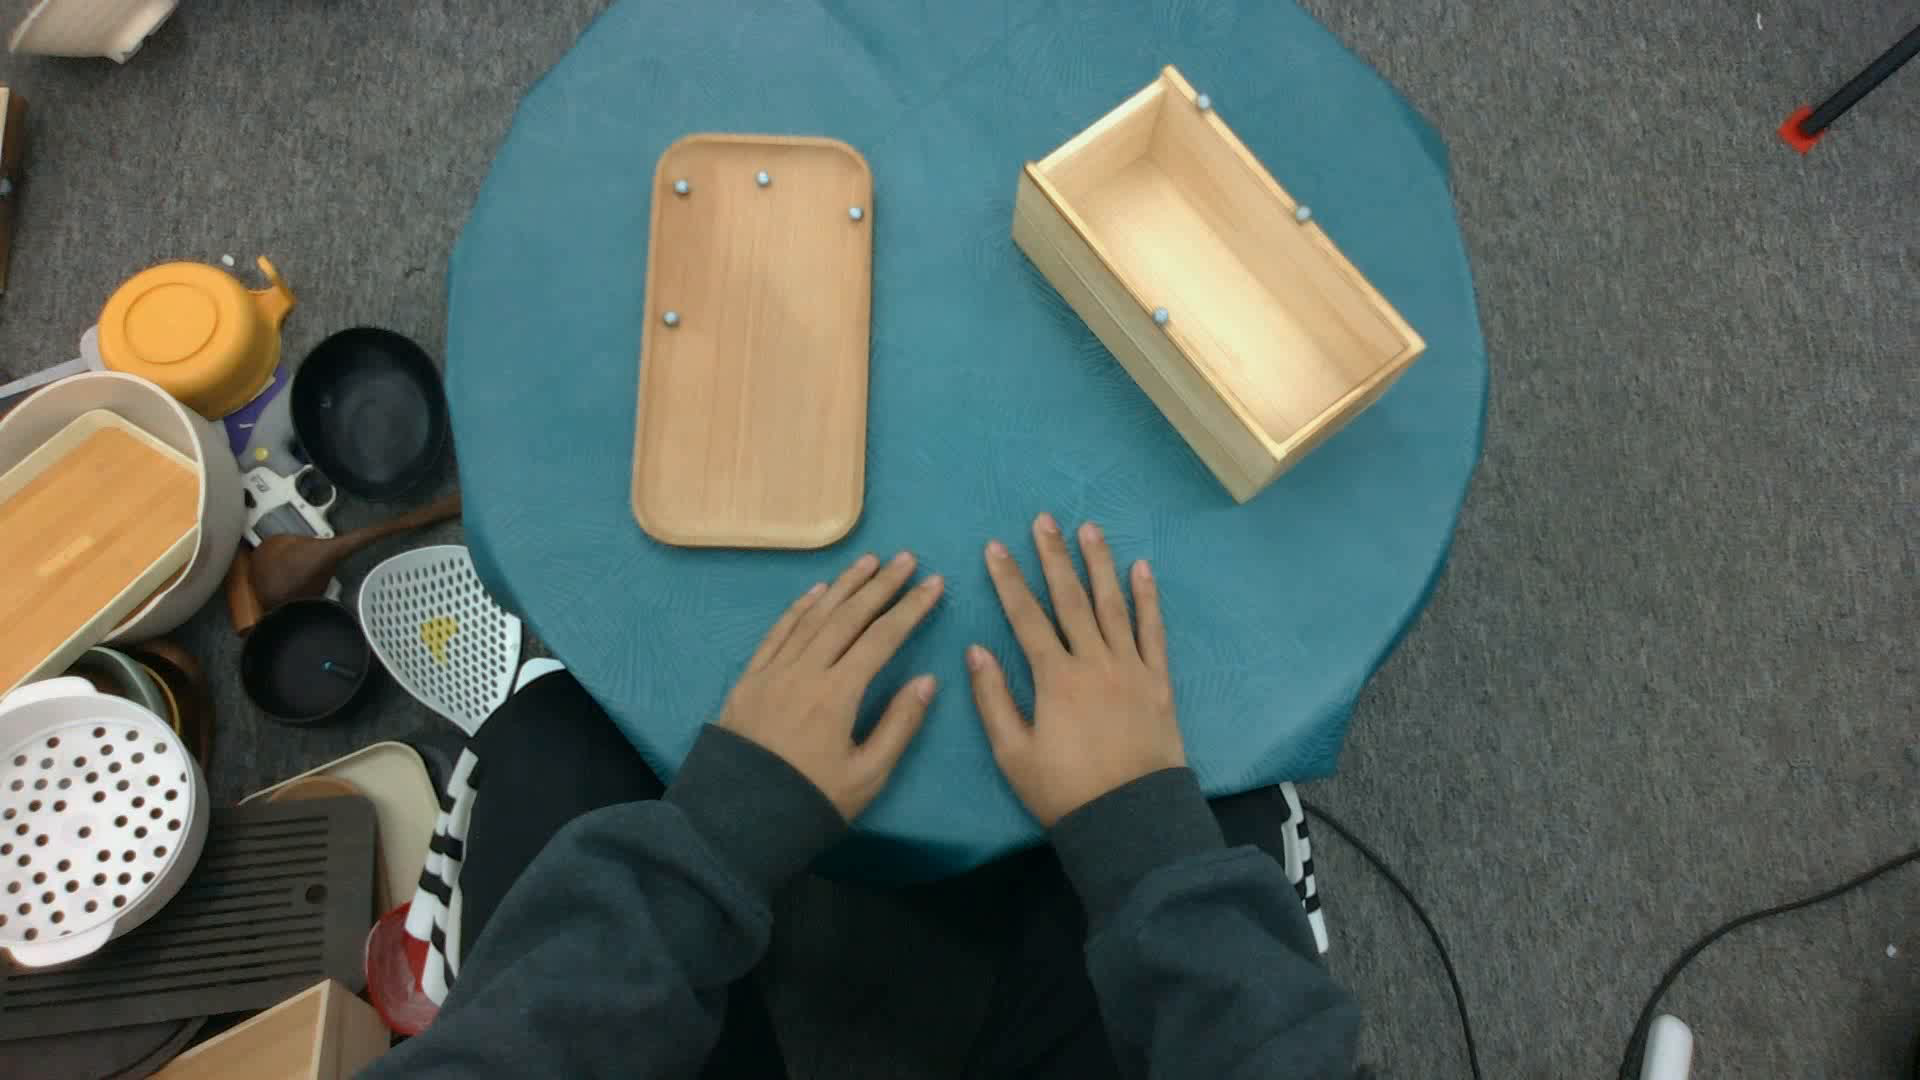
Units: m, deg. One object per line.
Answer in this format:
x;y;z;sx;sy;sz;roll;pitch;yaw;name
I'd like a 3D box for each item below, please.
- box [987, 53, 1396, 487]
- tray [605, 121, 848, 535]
0.123;-0.149;0.771;0.108;0.080;0.211;-37;80;-12;box
-0.129;-0.123;0.780;0.130;0.023;0.251;0;75;-1;tray
